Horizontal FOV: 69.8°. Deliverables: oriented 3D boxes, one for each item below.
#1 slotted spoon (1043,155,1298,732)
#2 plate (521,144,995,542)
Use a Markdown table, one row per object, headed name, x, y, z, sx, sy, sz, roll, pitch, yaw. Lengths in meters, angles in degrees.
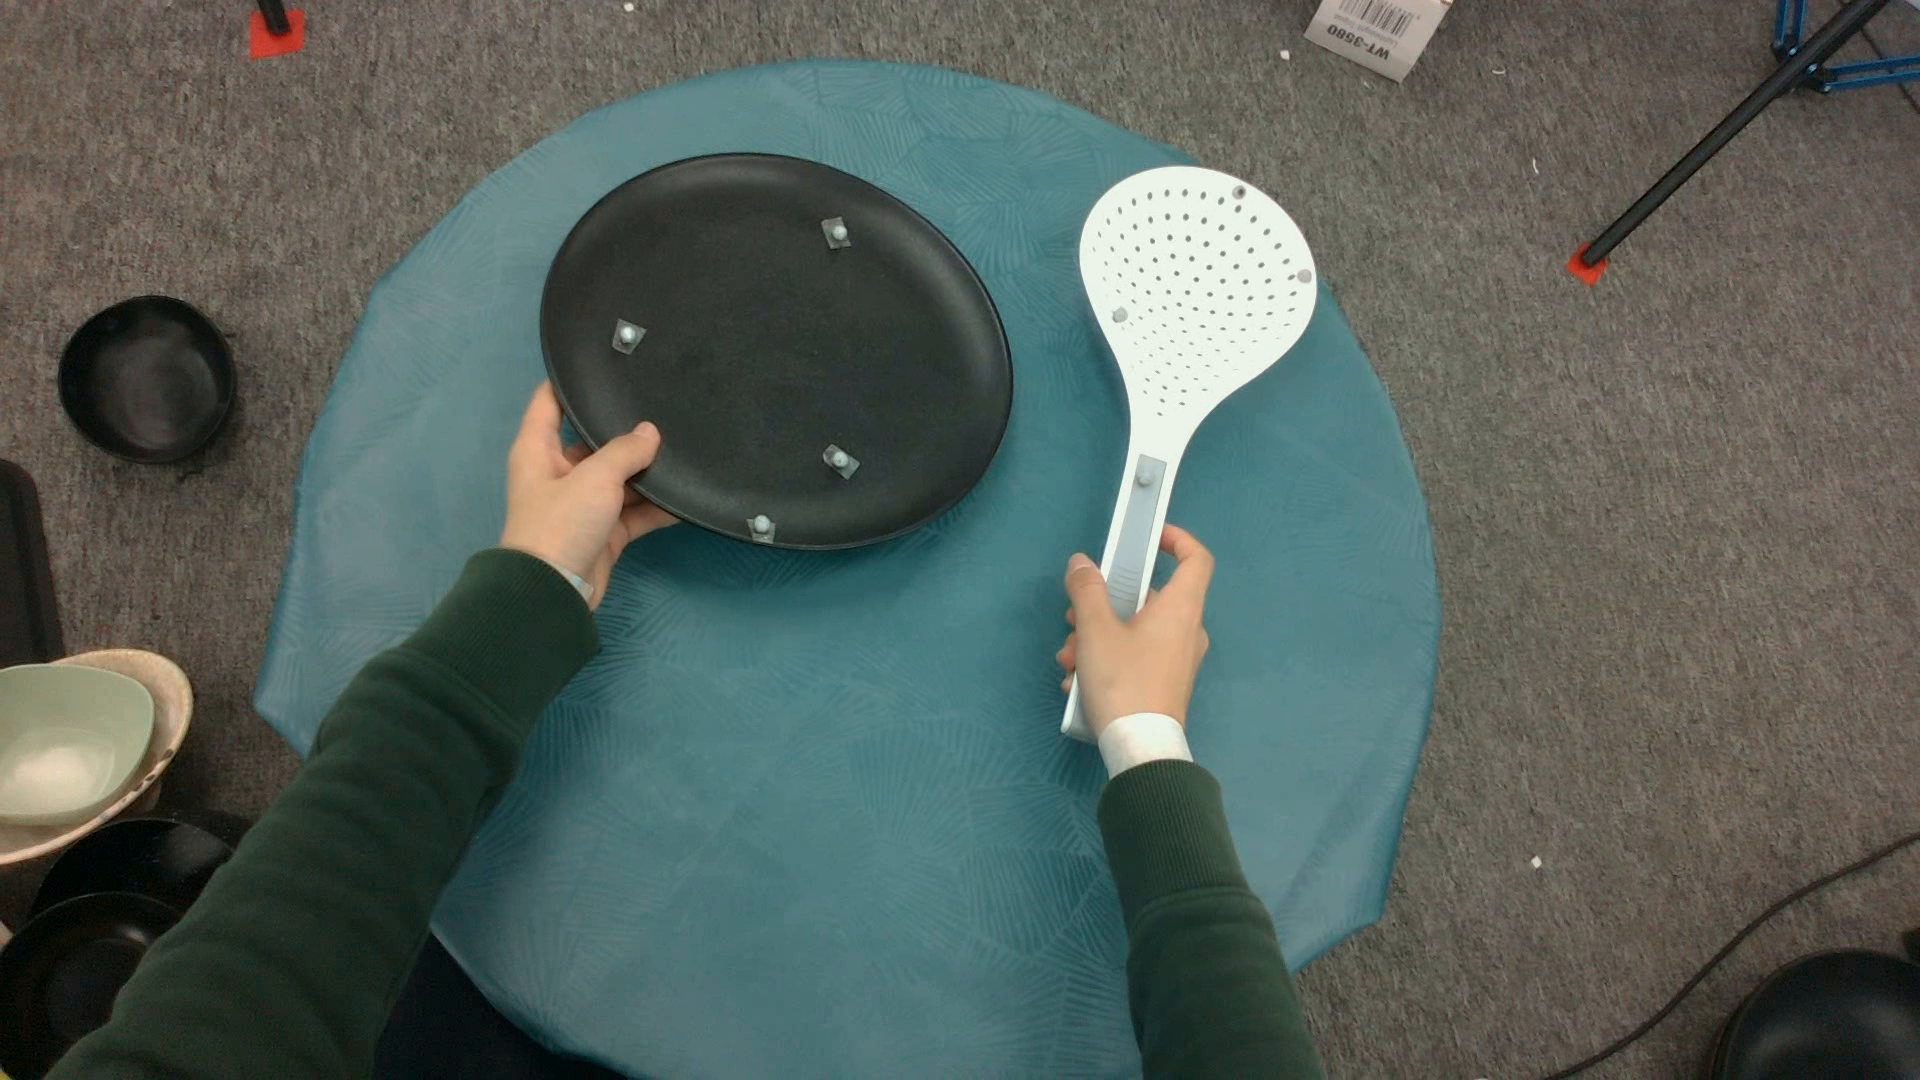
| name | x | y | z | sx | sy | sz | roll | pitch | yaw |
| --- | --- | --- | --- | --- | --- | --- | --- | --- | --- |
| slotted spoon | 0.097 | -0.063 | 0.735 | 0.136 | 0.045 | 0.351 | 16 | 61 | -1 |
| plate | -0.100 | -0.104 | 0.713 | 0.244 | 0.023 | 0.245 | 9 | 61 | -16 |
